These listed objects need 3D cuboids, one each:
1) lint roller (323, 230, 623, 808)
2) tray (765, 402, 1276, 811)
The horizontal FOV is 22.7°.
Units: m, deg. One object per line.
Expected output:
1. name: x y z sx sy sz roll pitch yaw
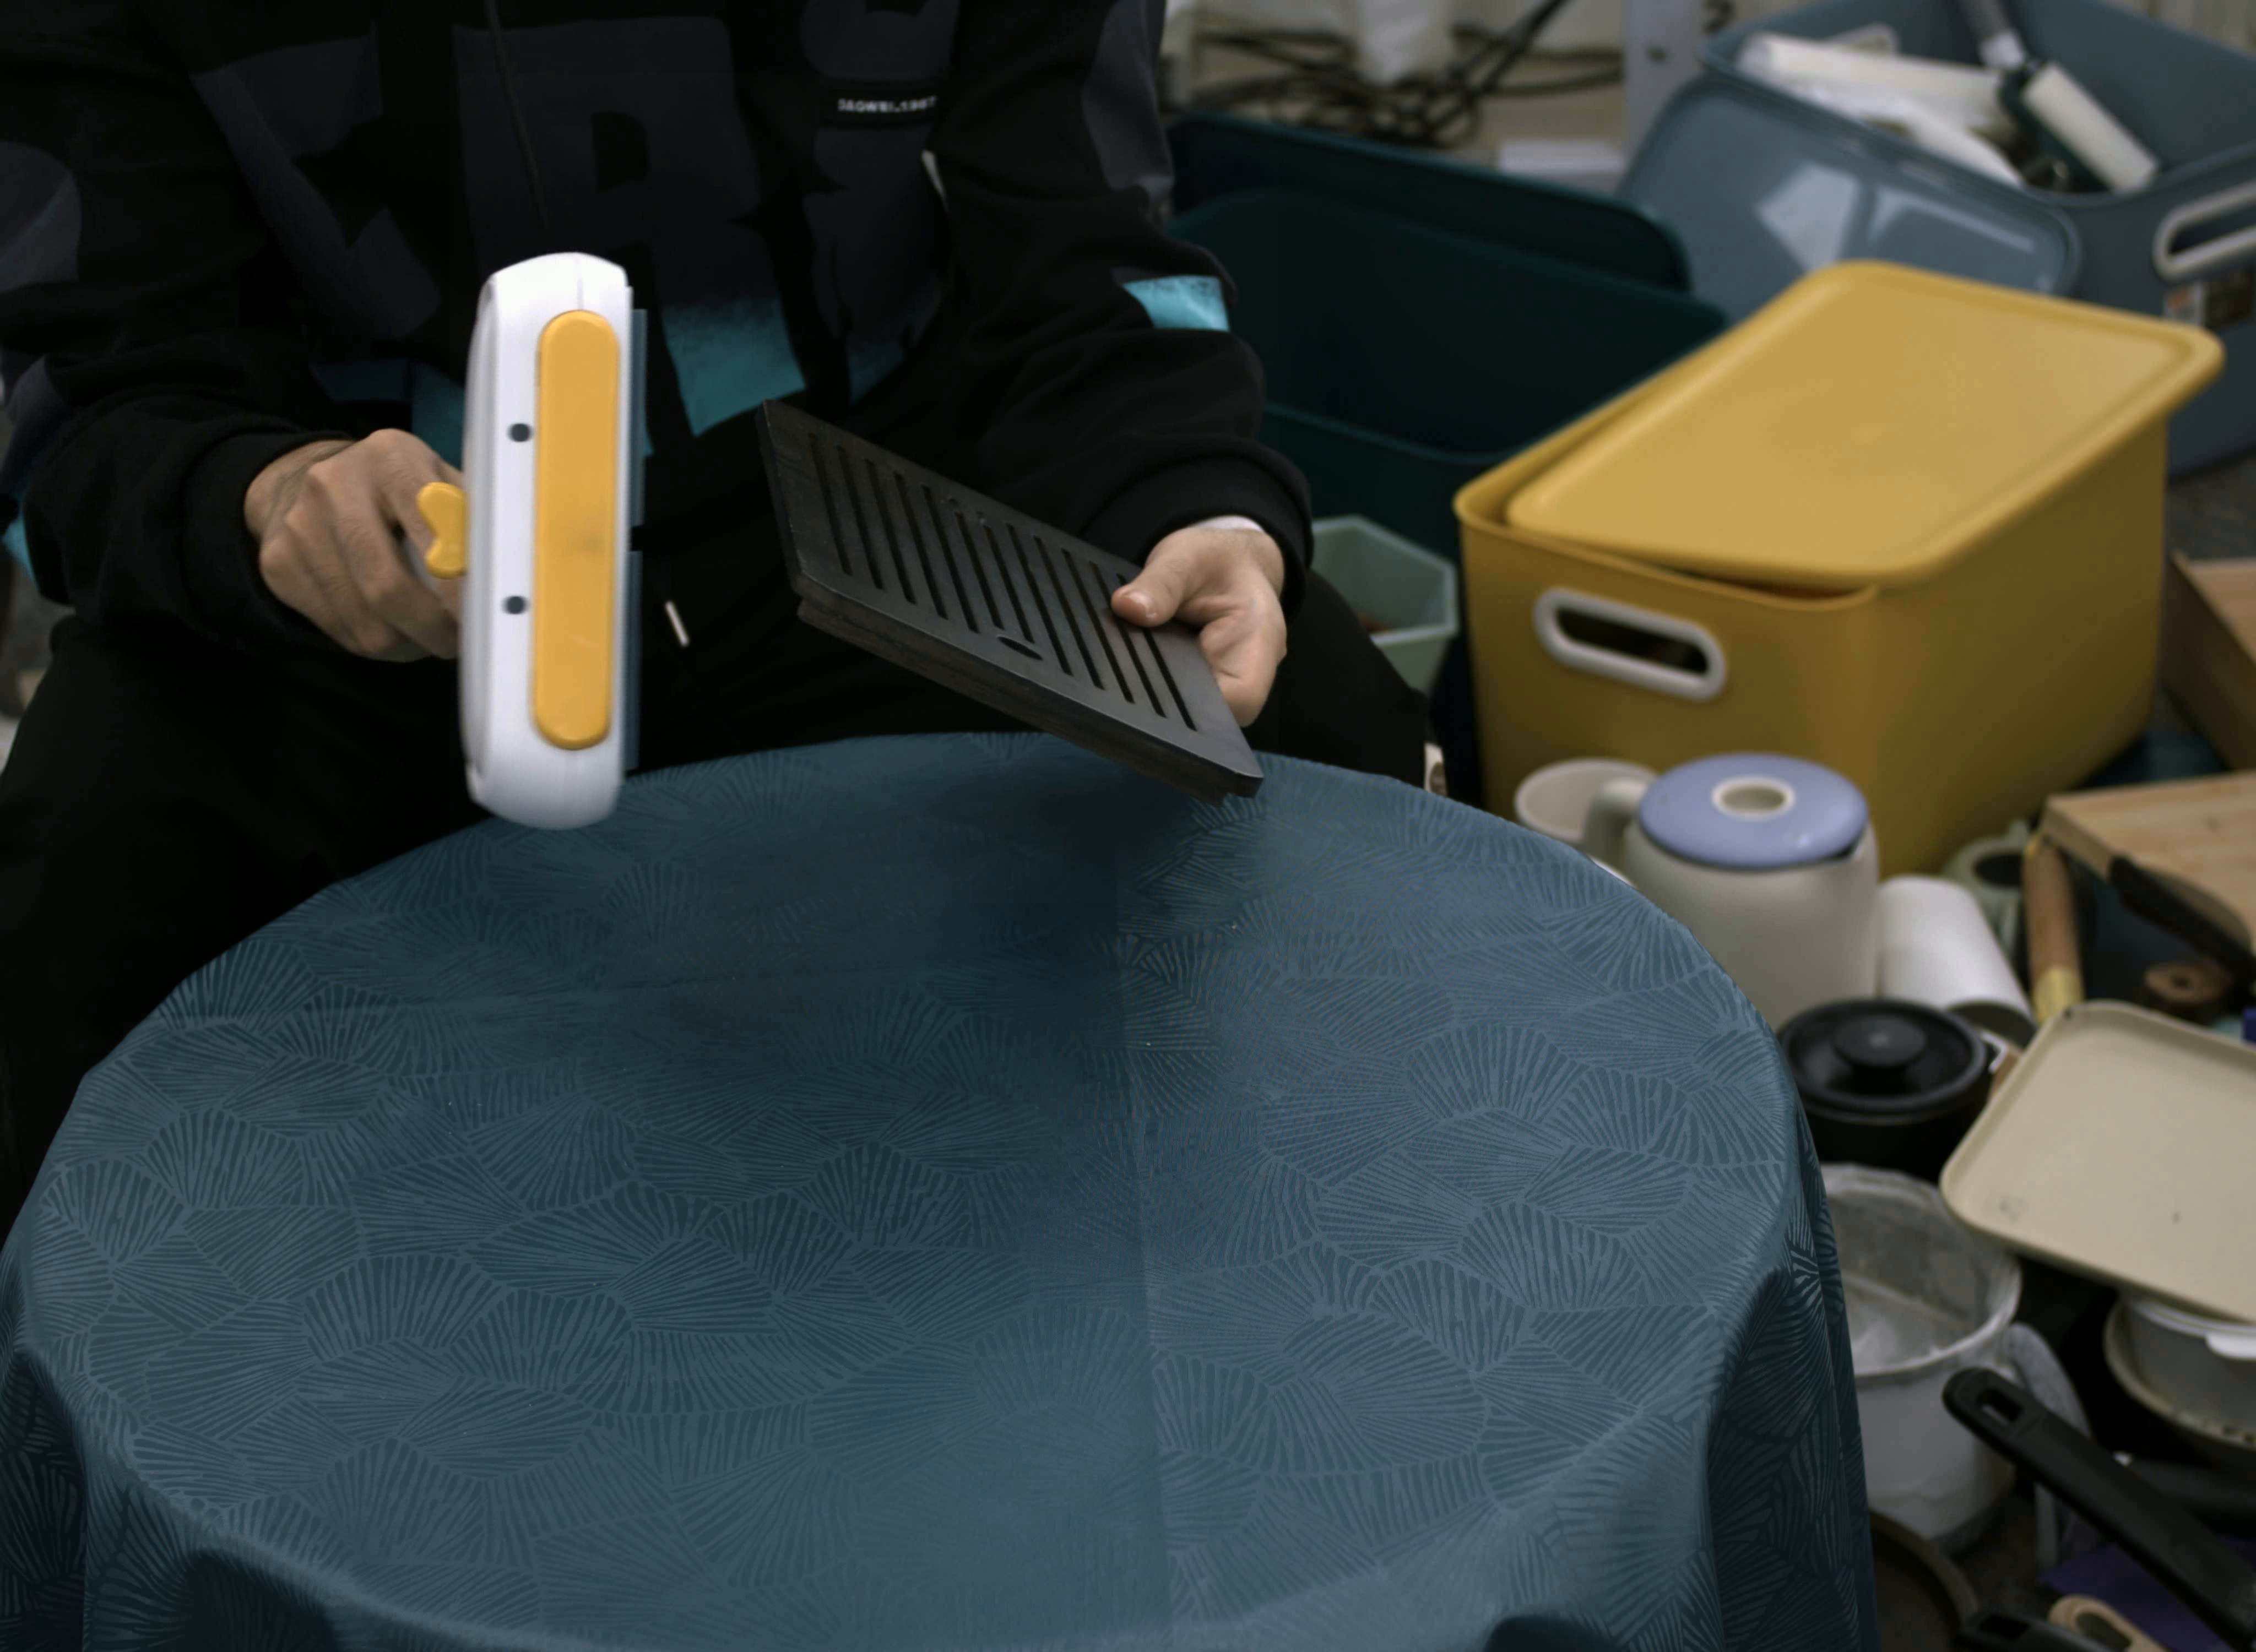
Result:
1. lint roller: -0.225 -0.093 1.928 0.074 0.195 0.190 0 -10 -23
2. tray: -0.045 -0.079 1.967 0.169 0.018 0.308 24 11 -12
